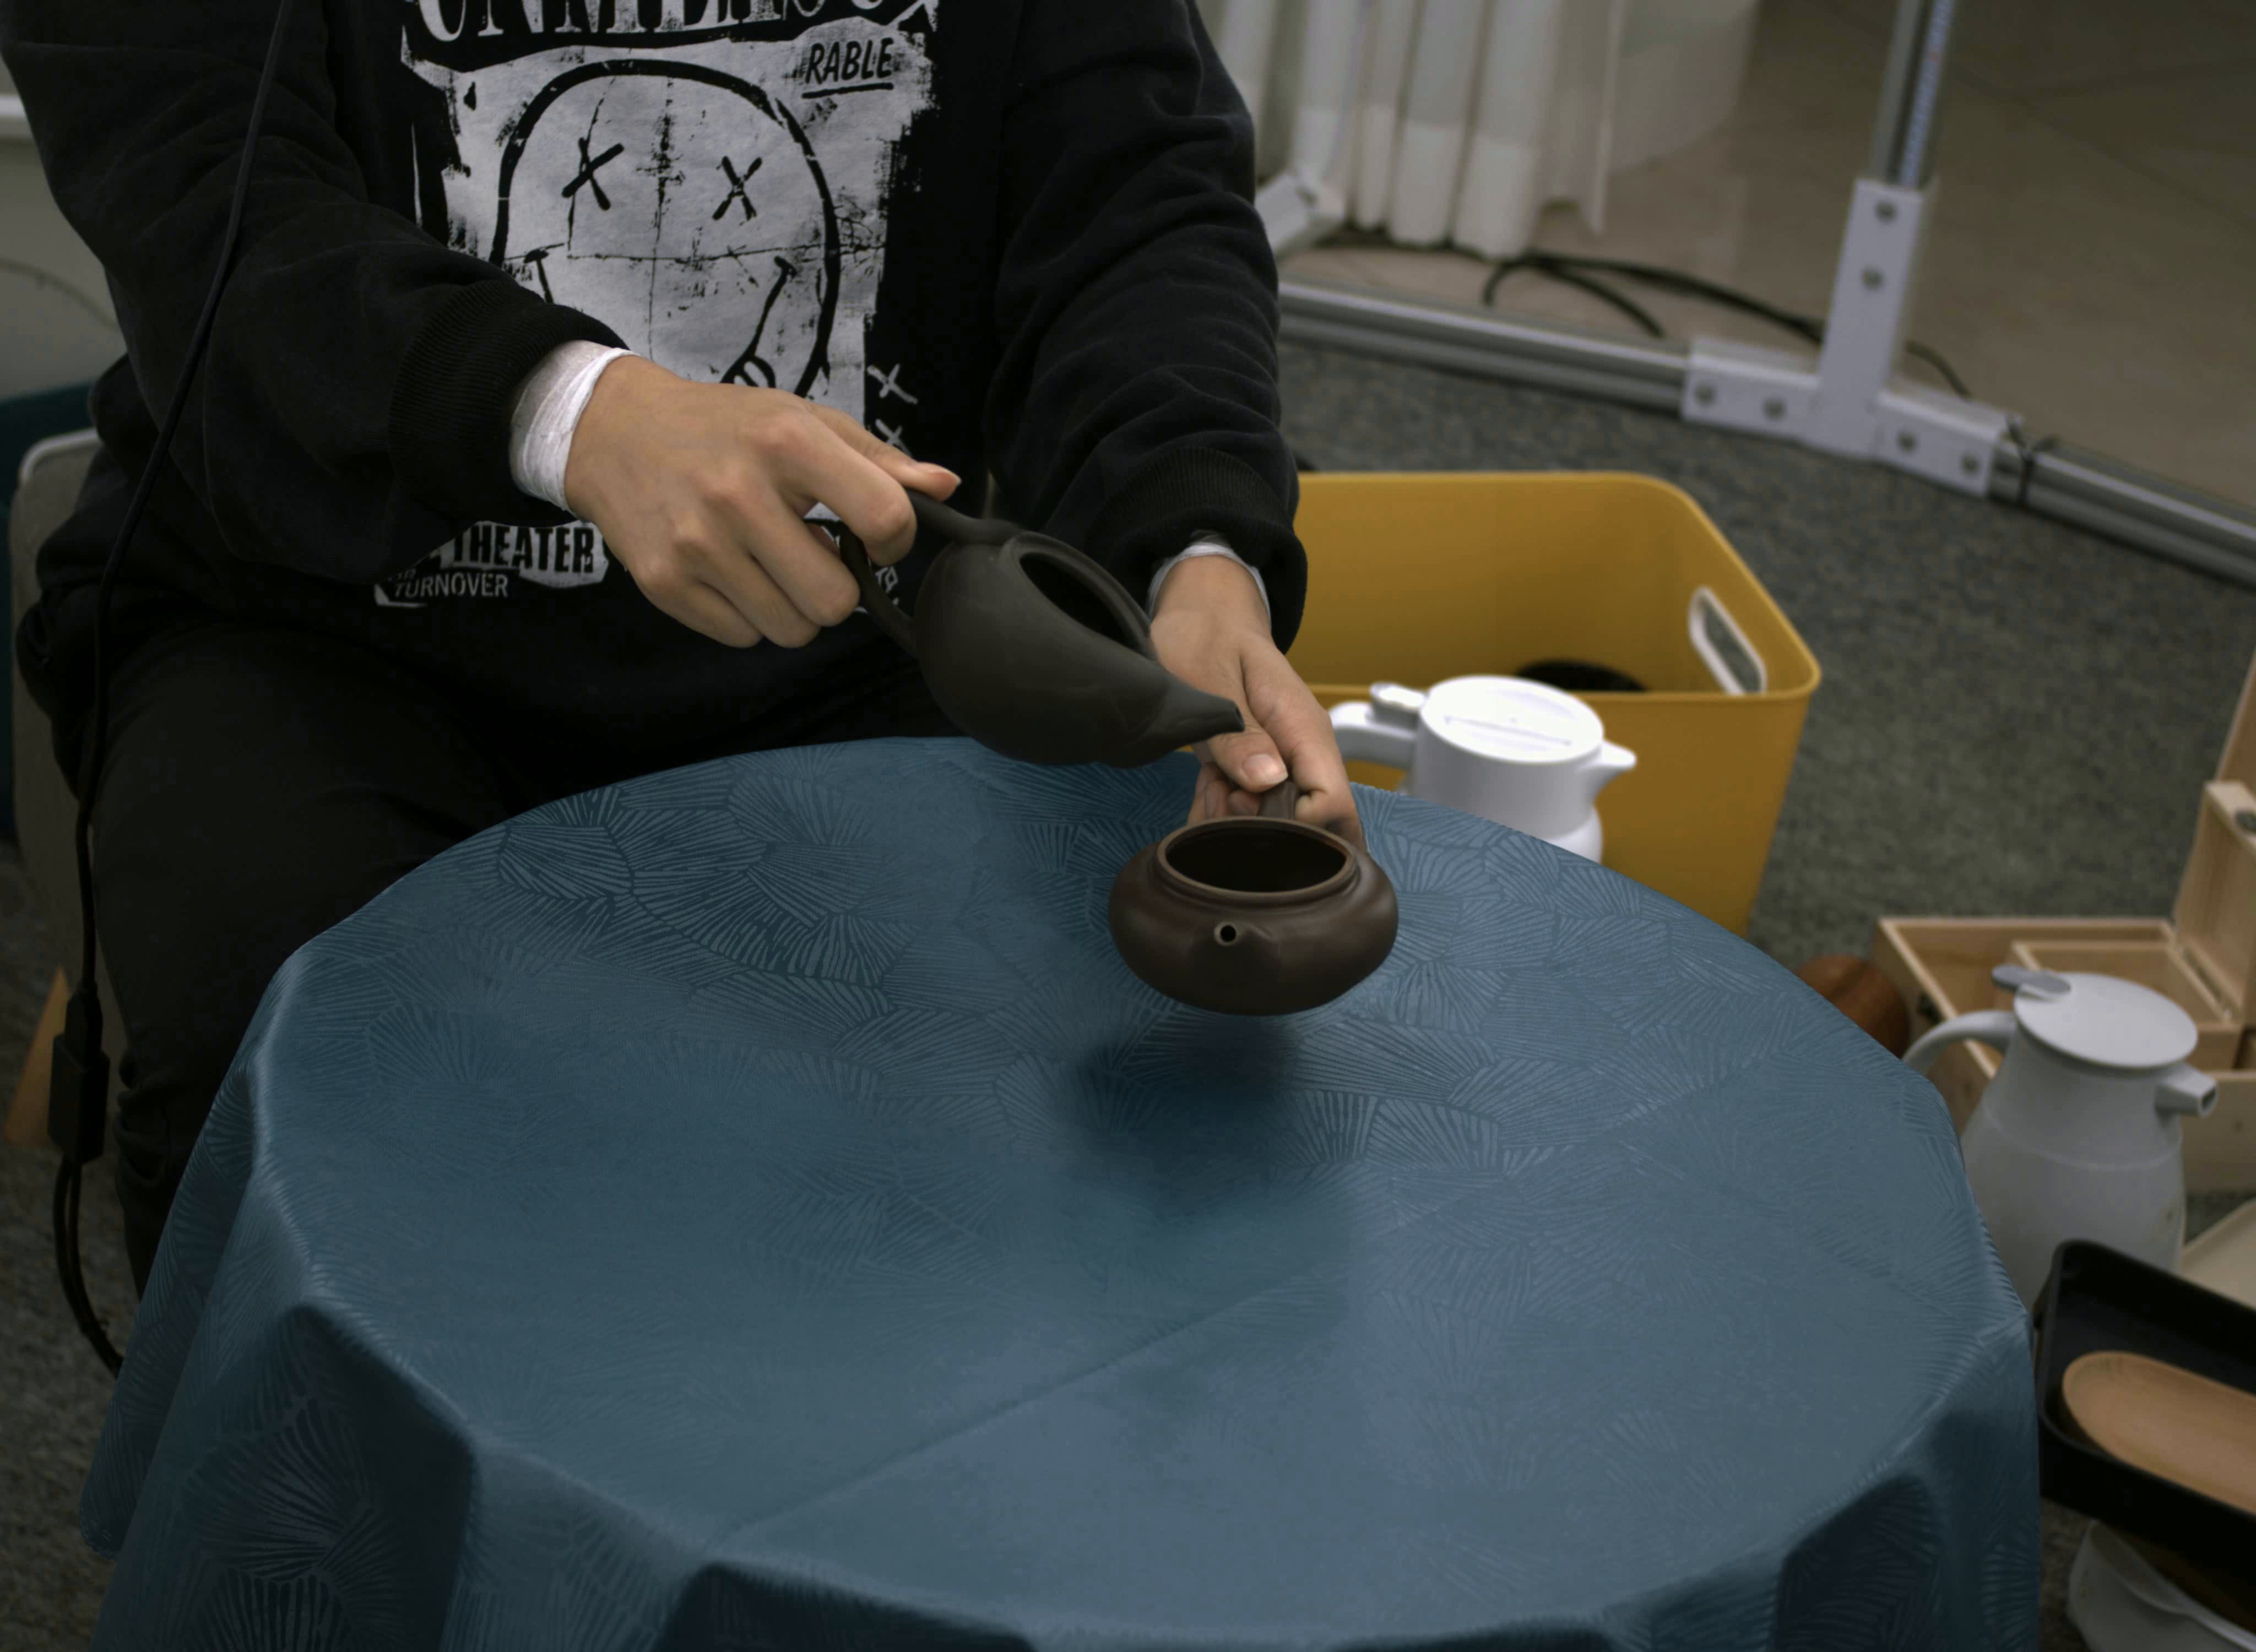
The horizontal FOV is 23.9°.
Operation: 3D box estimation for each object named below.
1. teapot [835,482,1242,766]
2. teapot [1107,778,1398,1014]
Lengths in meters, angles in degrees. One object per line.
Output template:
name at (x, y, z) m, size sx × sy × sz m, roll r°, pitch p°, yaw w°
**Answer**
teapot at (-0.034, -0.063, 1.811) m, size 0.153 × 0.064 × 0.093 m, roll 34°, pitch 20°, yaw -8°
teapot at (0.044, 0.027, 1.876) m, size 0.102 × 0.053 × 0.154 m, roll 5°, pitch 24°, yaw 2°
